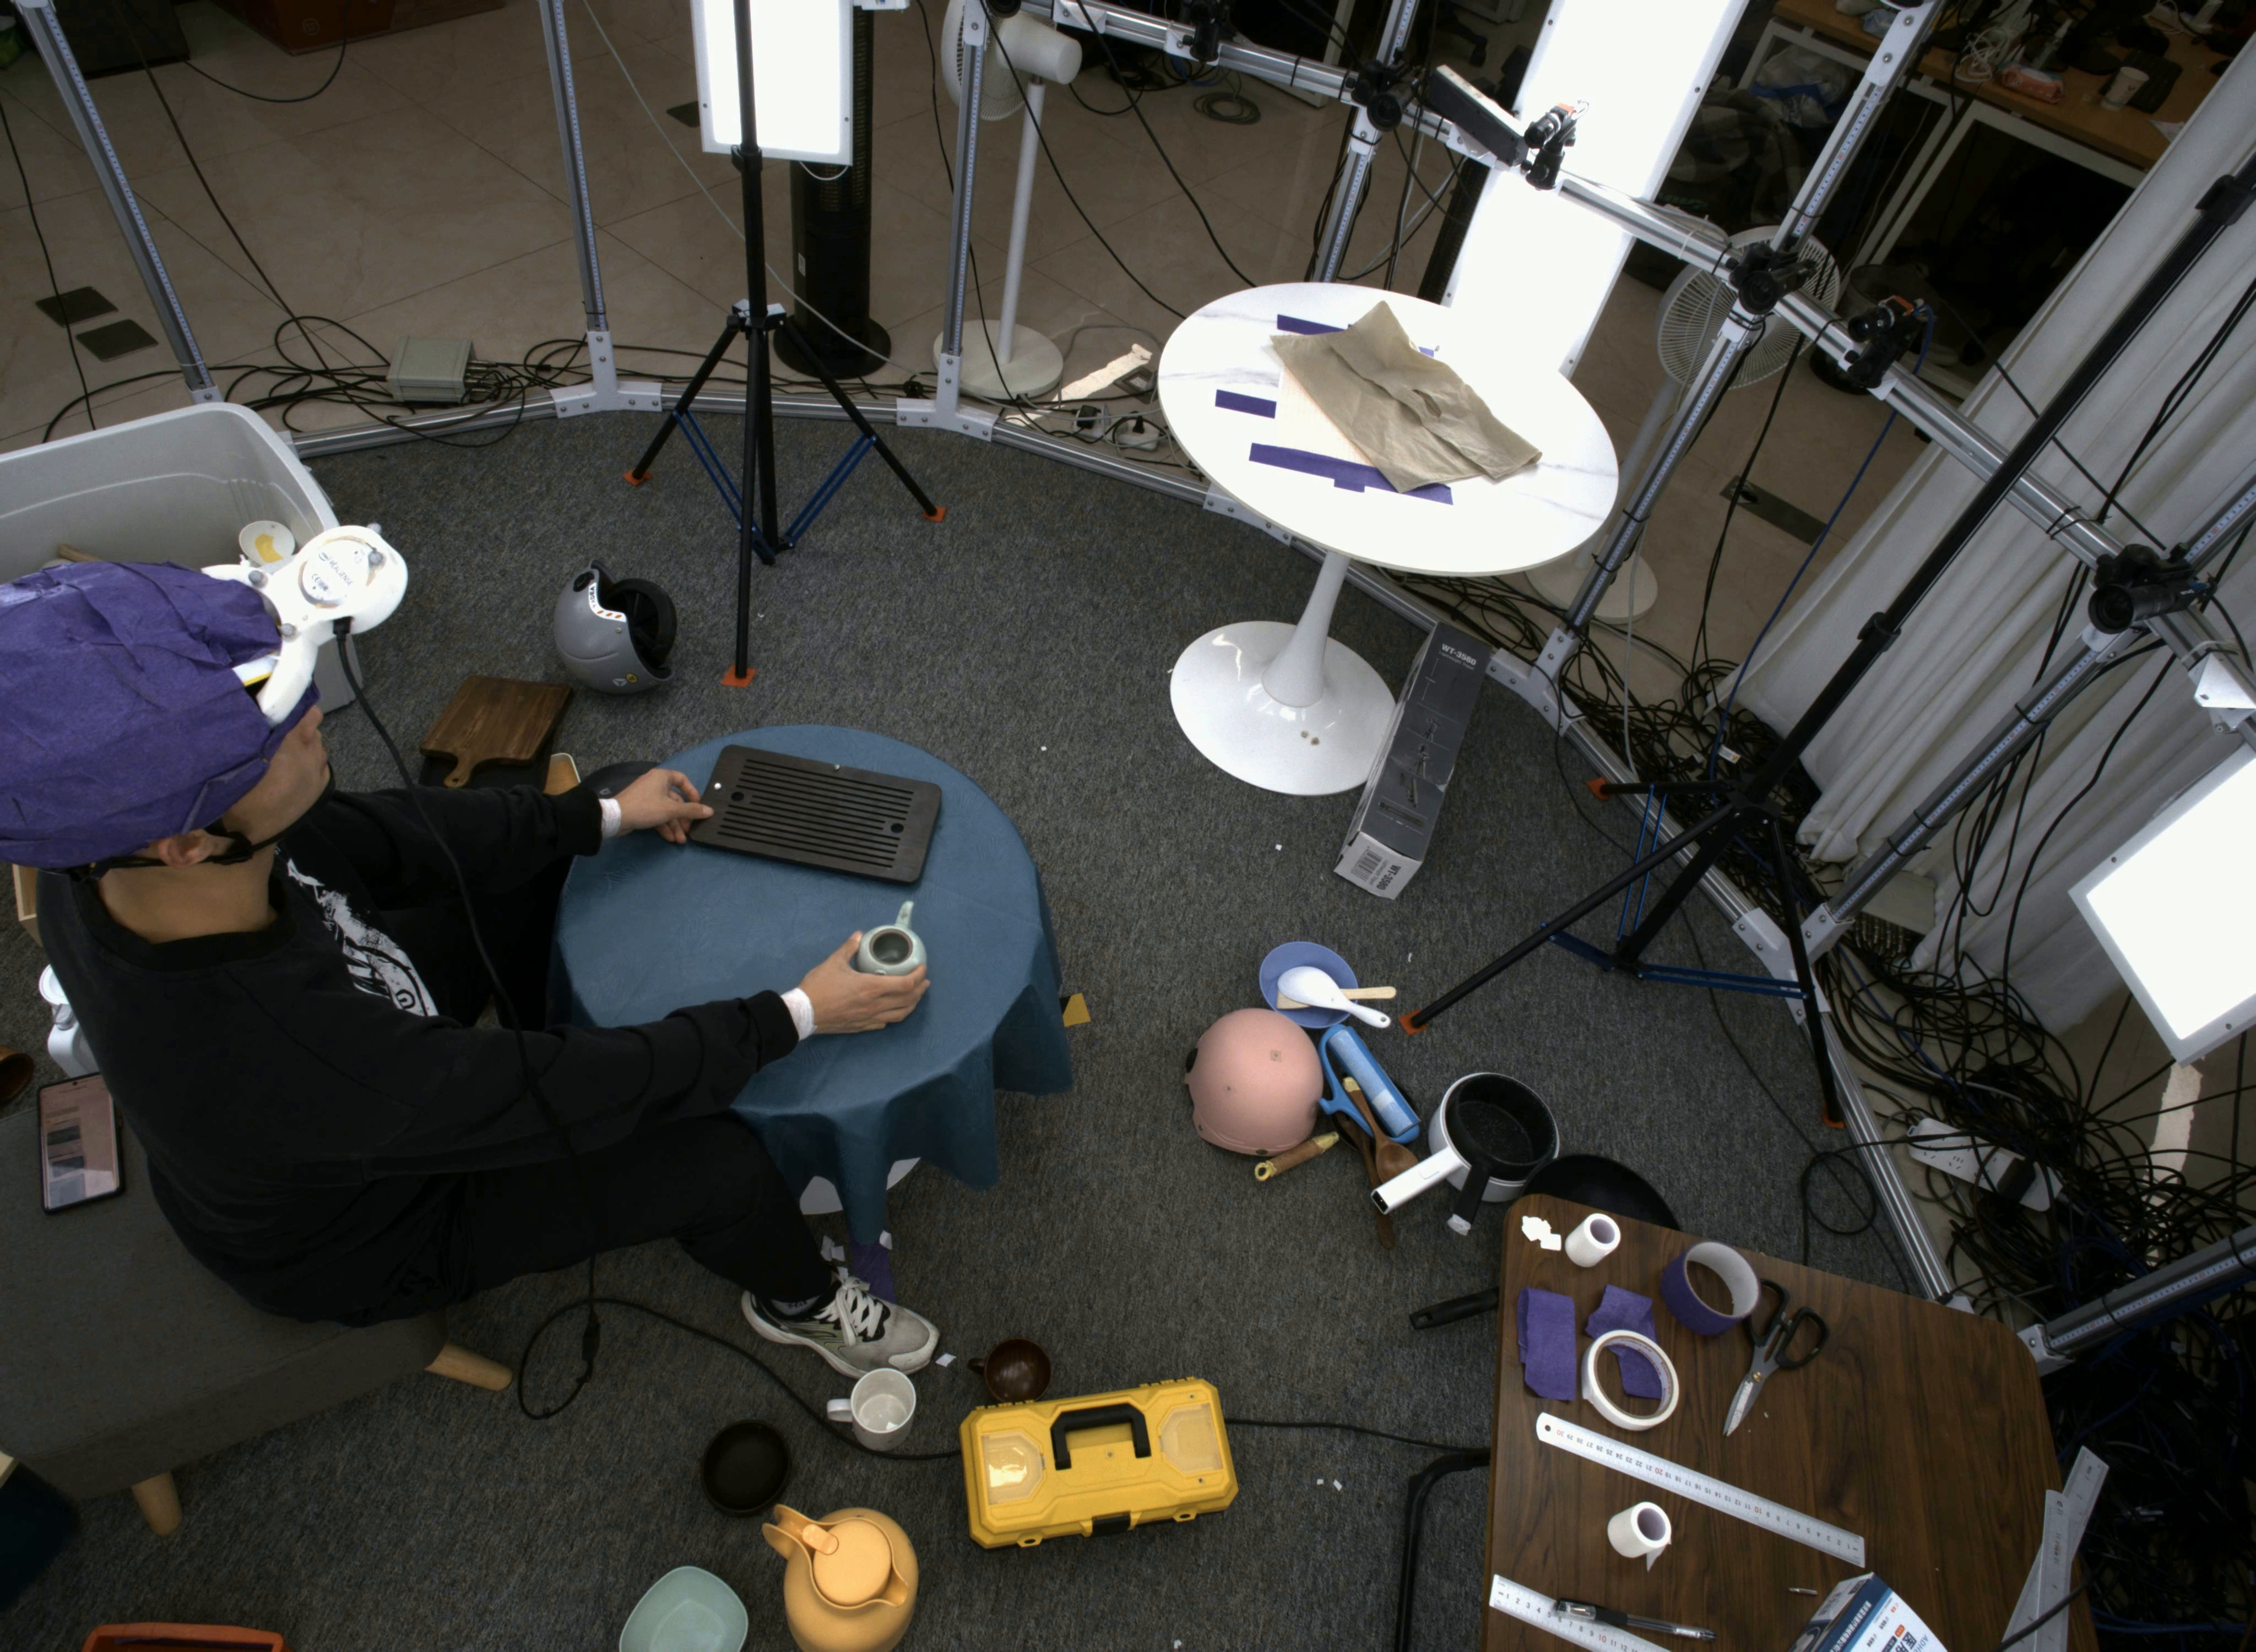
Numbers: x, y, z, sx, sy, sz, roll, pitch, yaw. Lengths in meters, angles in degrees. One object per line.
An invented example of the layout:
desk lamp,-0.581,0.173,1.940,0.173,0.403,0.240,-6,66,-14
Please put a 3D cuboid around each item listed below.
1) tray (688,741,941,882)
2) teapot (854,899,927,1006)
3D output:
tray,-0.413,-0.020,1.727,0.304,0.019,0.167,11,52,-6
teapot,-0.290,0.161,1.588,0.087,0.076,0.142,17,49,1
